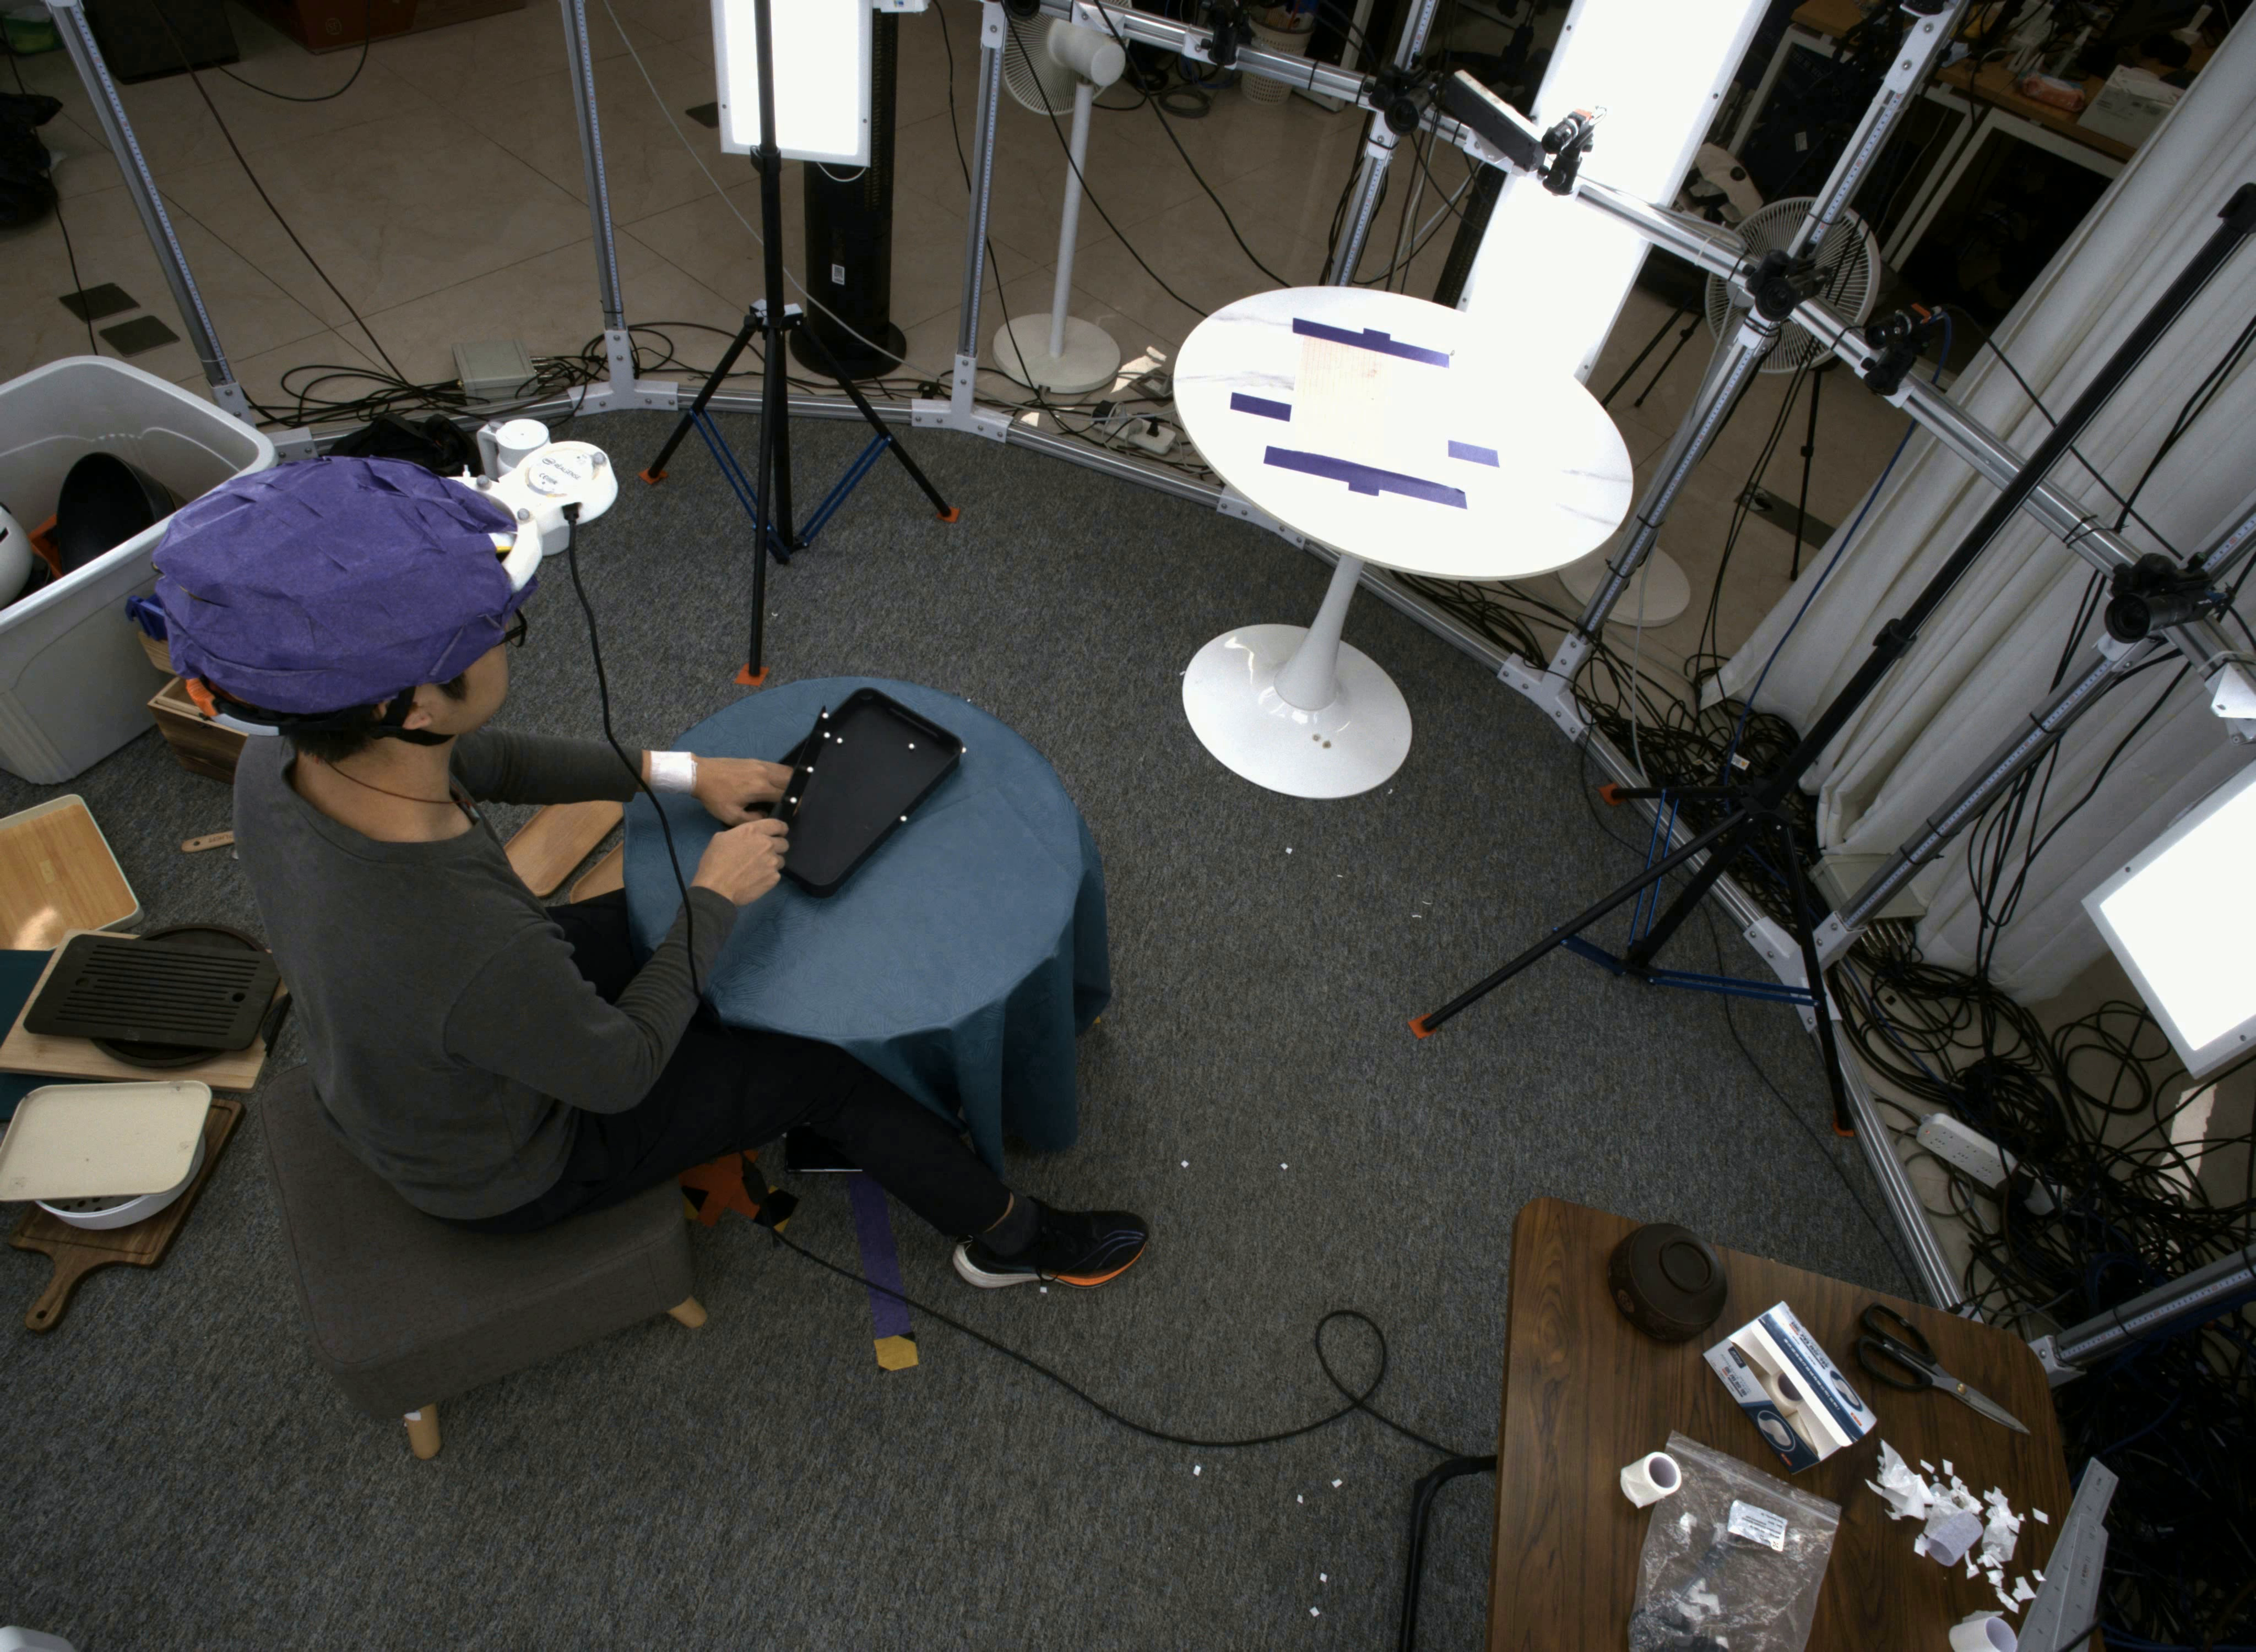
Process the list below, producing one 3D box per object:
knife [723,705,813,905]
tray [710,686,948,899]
[{"bbox_3d":[-0.454,-0.027,1.651,0.020,0.083,0.298,12,51,2],"label":"knife"},{"bbox_3d":[-0.399,-0.053,1.757,0.181,0.038,0.316,29,52,8],"label":"tray"}]
